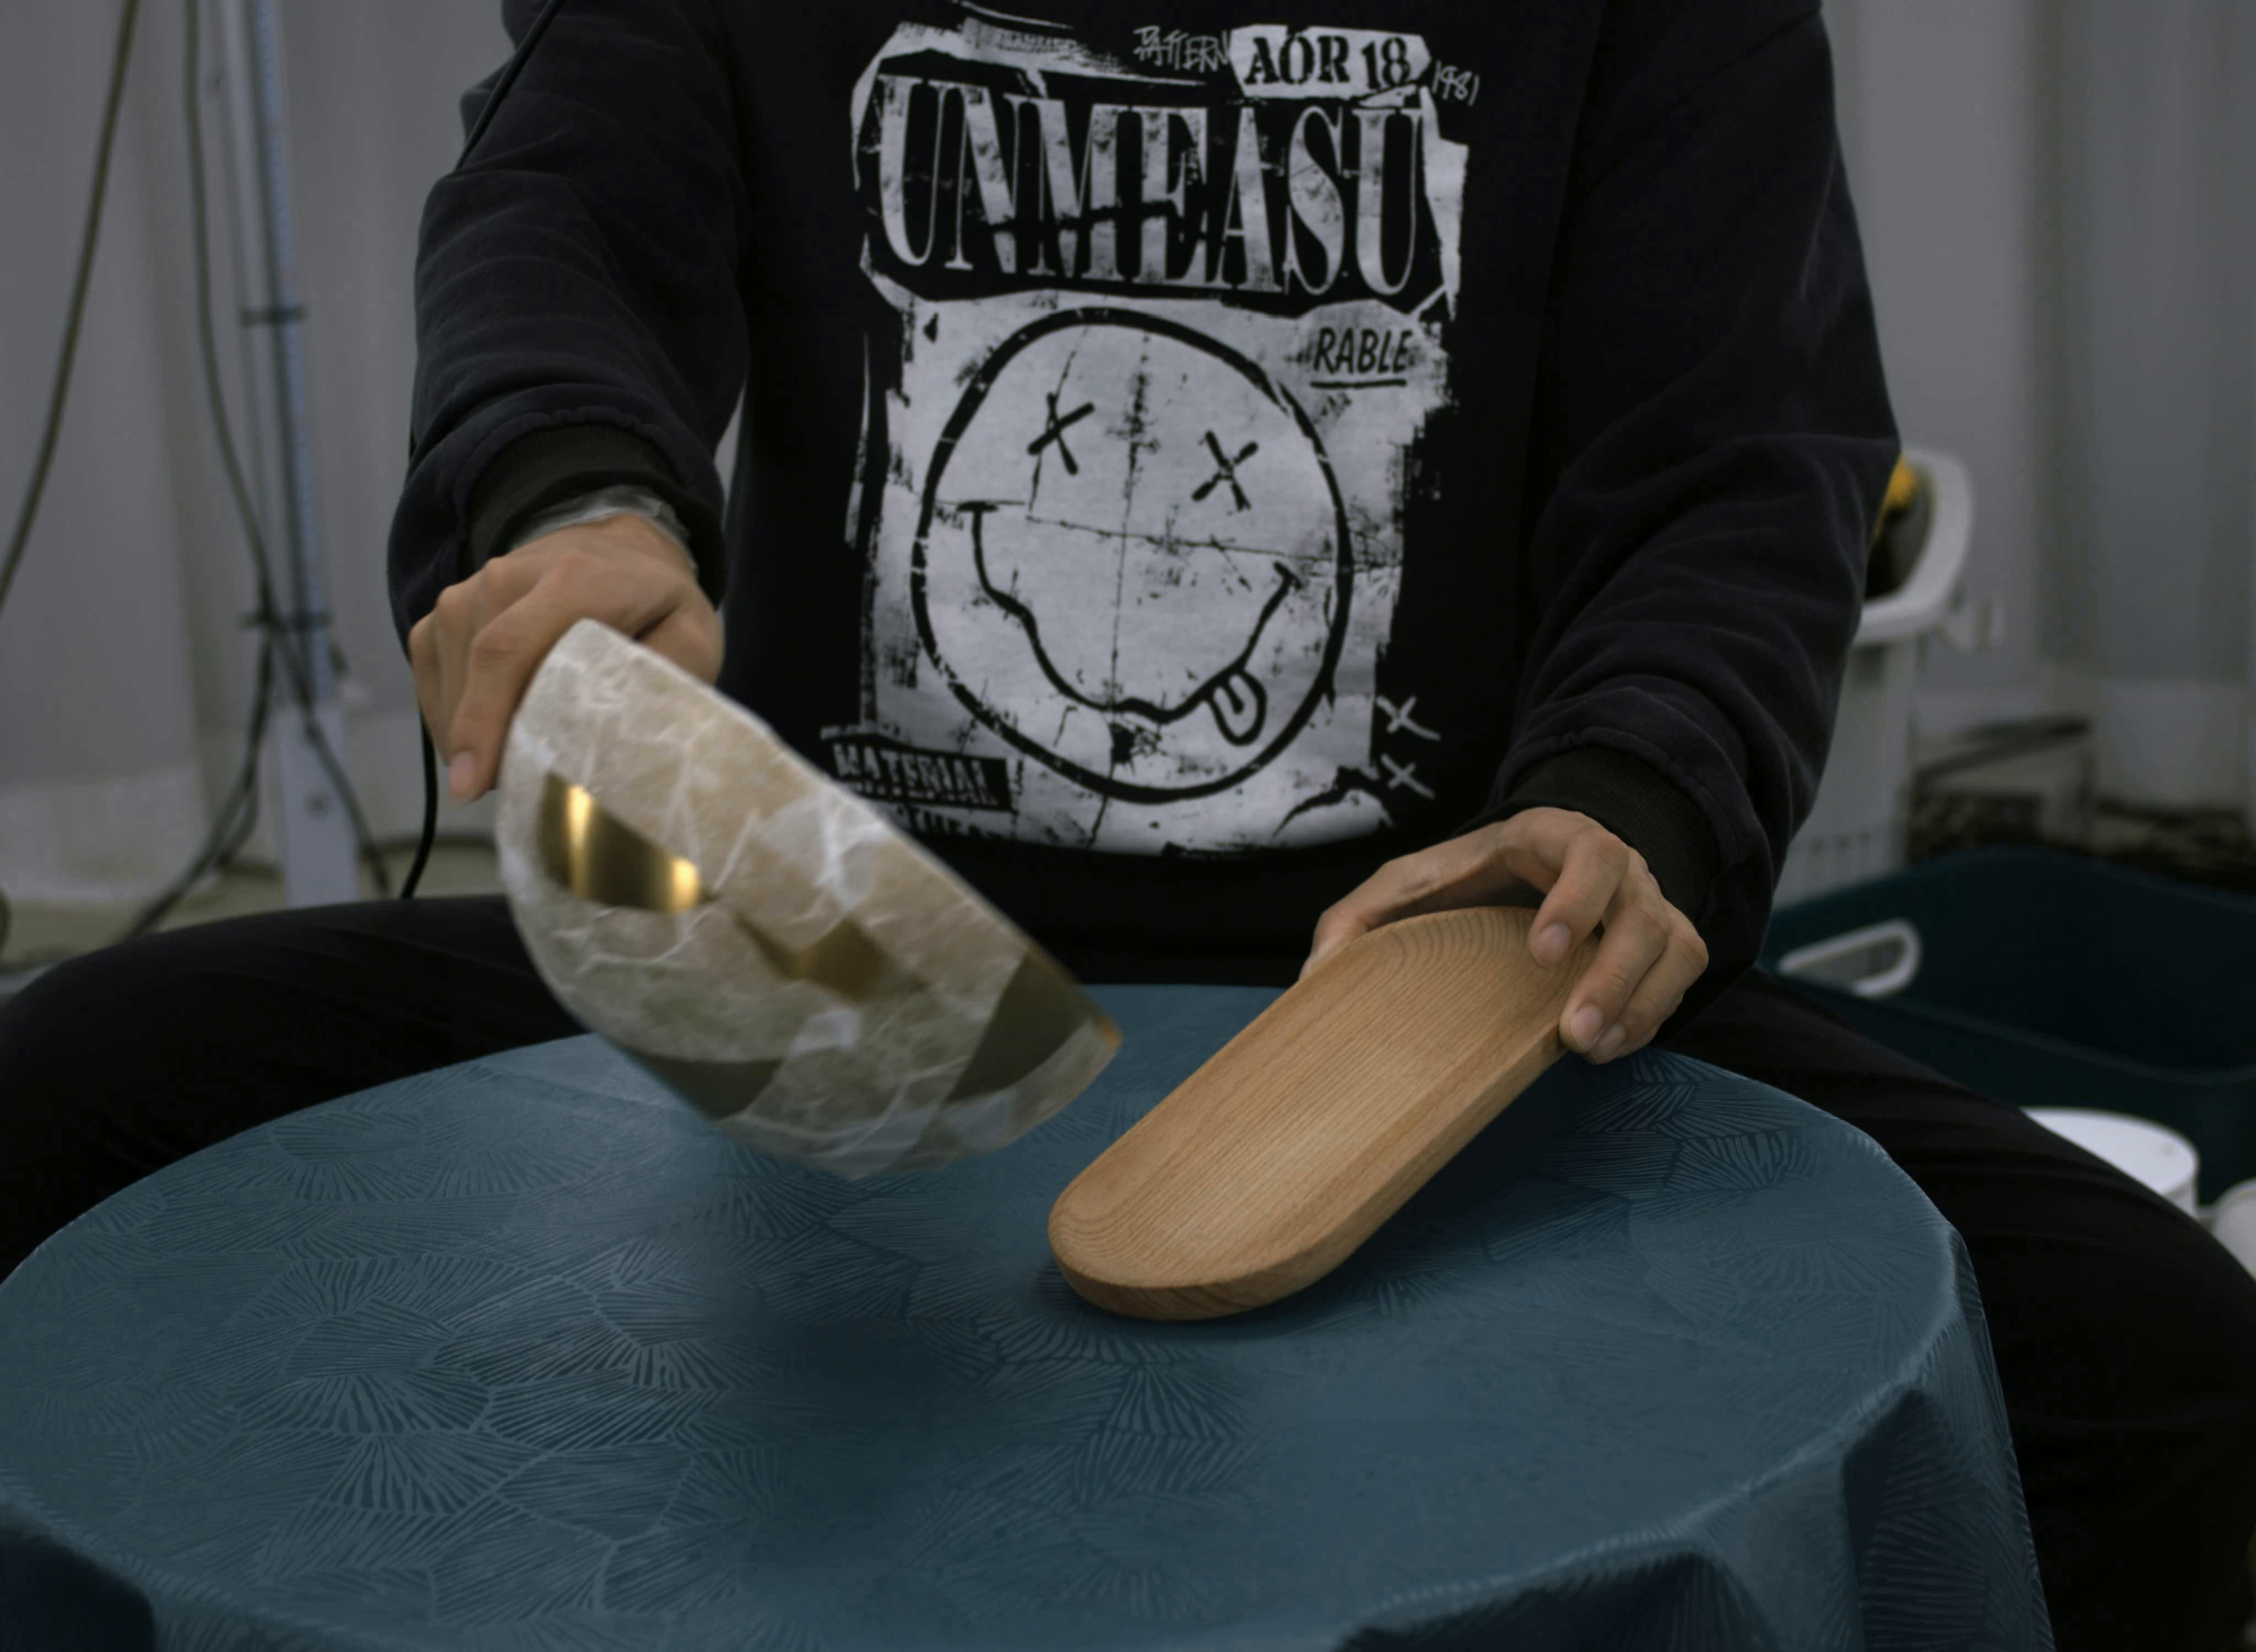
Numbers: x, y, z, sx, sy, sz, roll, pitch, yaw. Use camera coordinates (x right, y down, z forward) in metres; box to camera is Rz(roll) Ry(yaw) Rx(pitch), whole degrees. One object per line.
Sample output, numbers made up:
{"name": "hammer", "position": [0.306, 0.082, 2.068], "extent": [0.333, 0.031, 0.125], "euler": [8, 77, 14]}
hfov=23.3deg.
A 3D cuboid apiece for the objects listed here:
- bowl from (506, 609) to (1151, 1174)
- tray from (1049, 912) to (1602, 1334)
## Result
{"name": "bowl", "position": [-0.101, 0.037, 1.558], "extent": [0.215, 0.095, 0.214], "euler": [36, -7, 5]}
{"name": "tray", "position": [0.063, 0.088, 1.671], "extent": [0.102, 0.020, 0.232], "euler": [4, 32, 37]}
